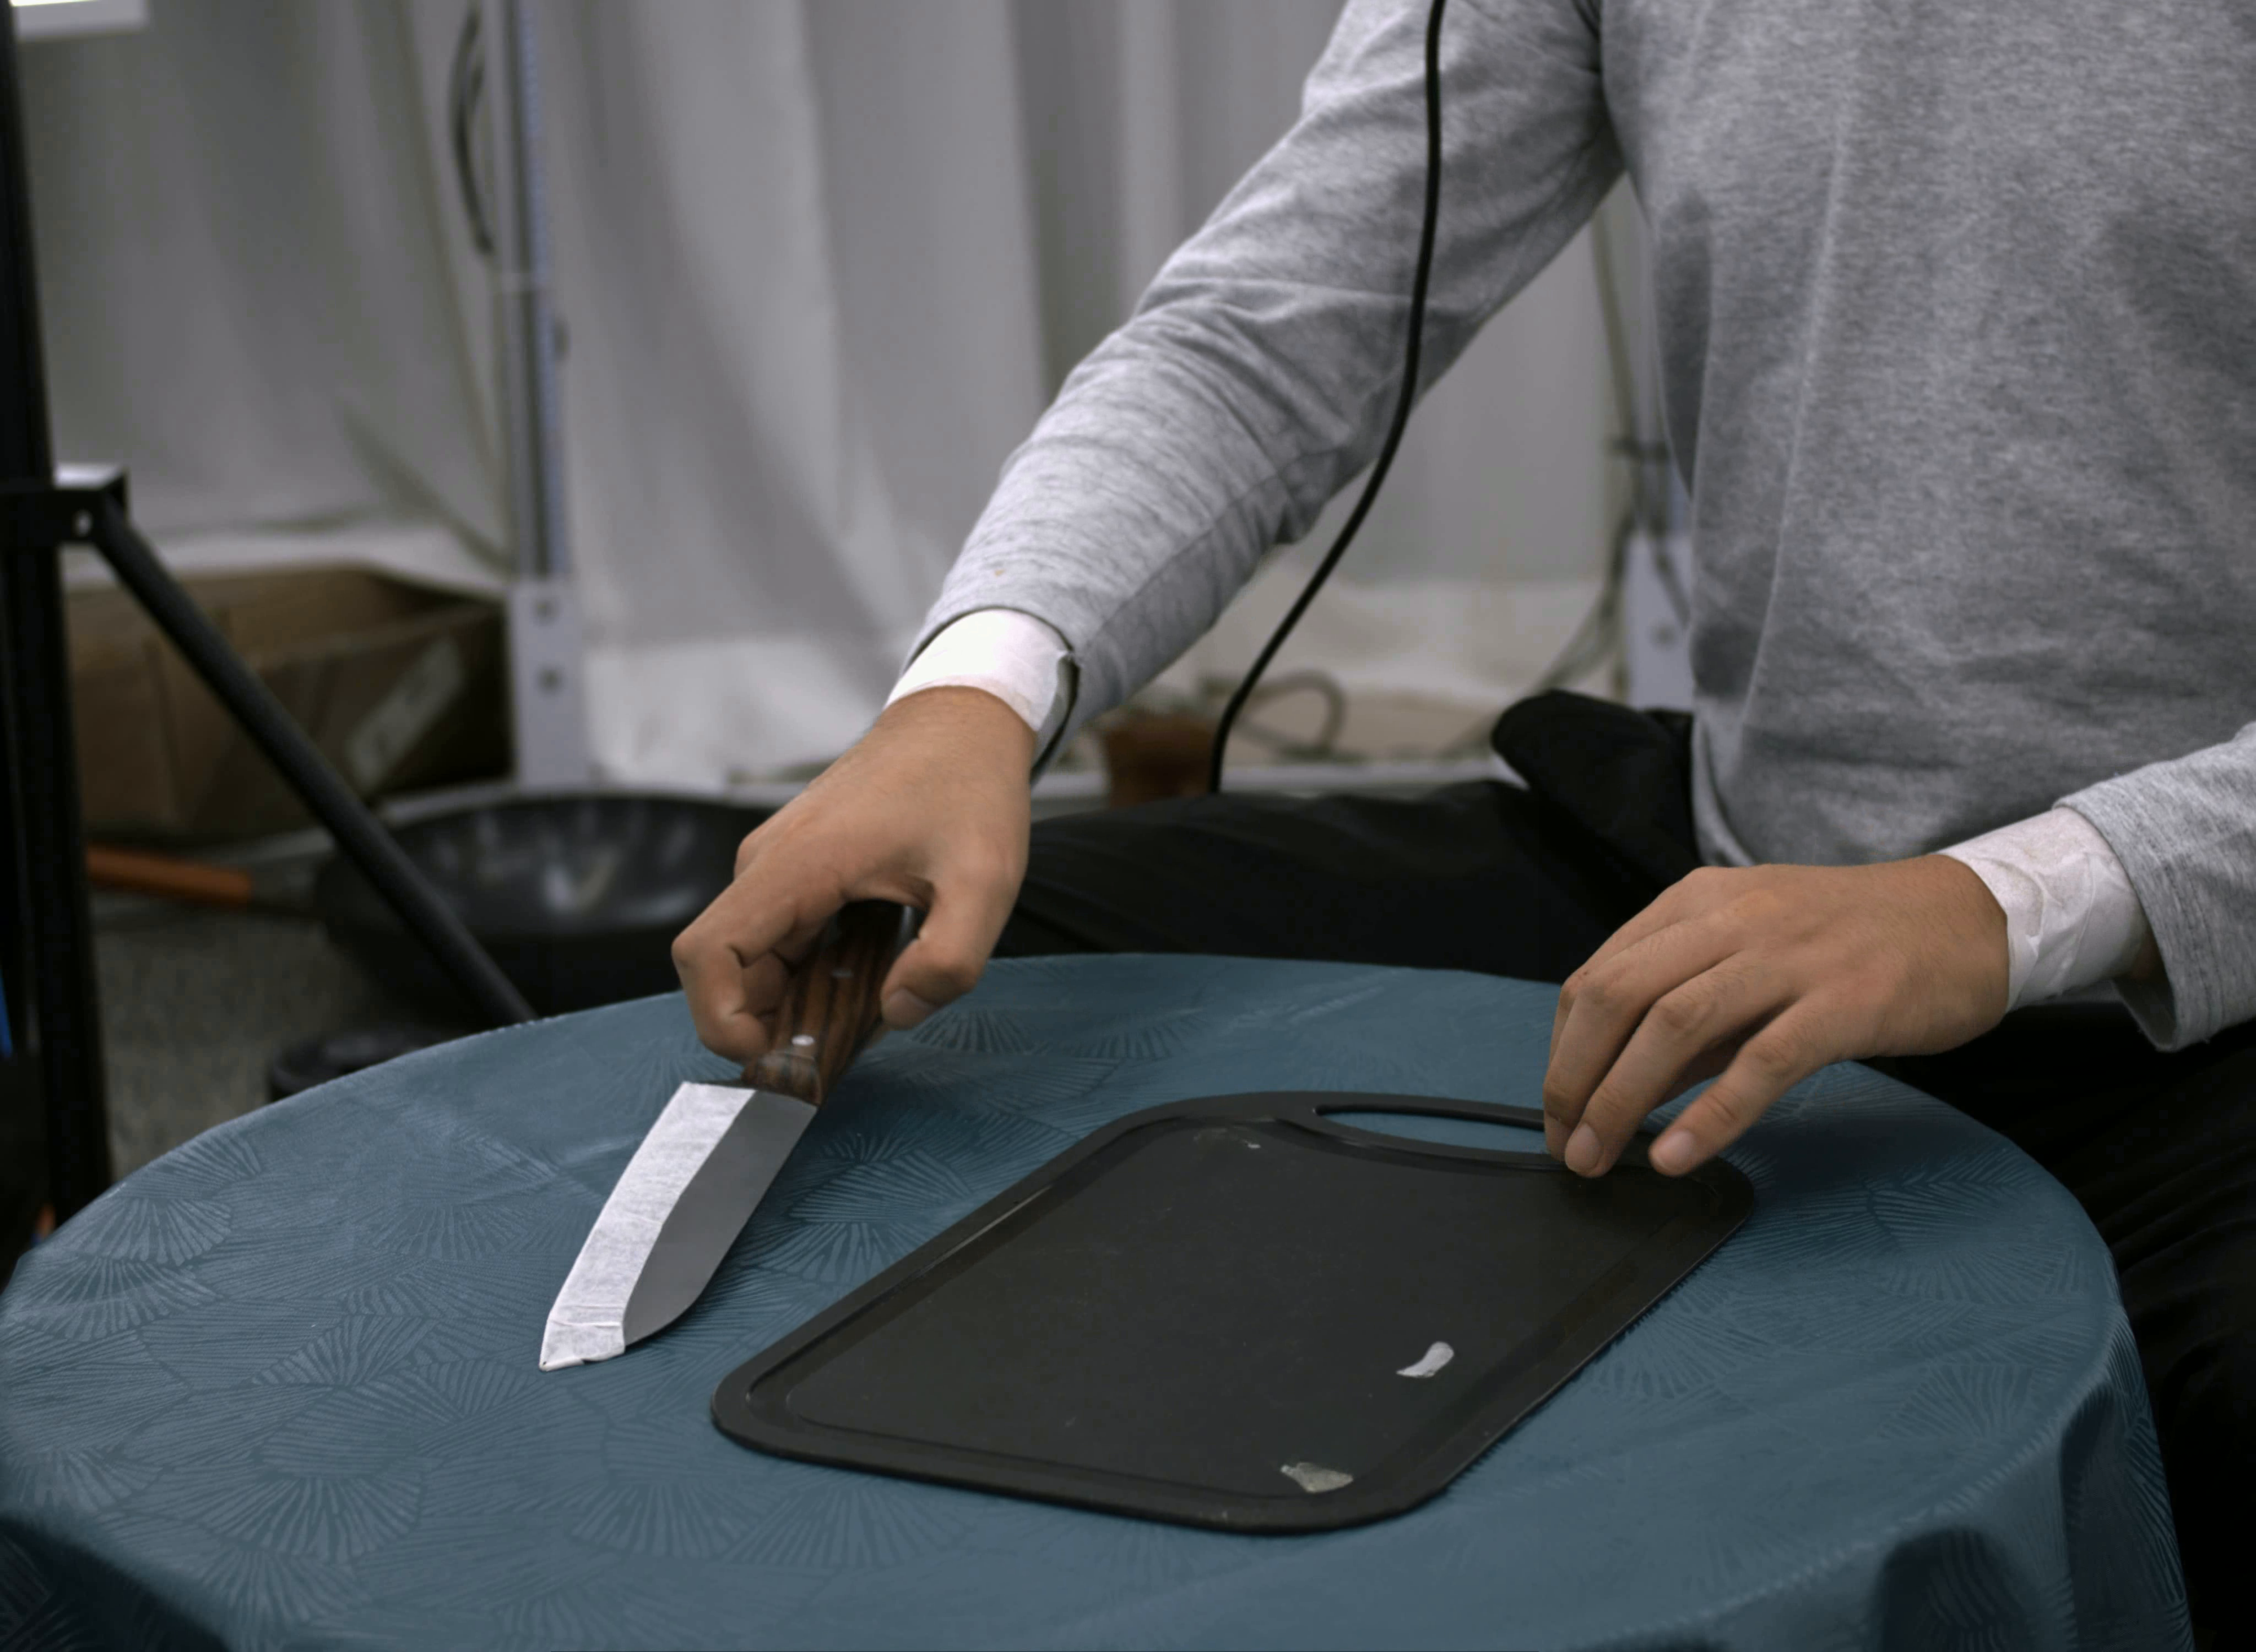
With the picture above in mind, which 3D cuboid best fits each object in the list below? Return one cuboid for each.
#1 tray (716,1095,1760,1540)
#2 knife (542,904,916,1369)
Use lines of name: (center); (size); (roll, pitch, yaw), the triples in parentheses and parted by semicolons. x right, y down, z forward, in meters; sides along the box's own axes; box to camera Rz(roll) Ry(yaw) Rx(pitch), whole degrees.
tray: (0.040, 0.127, 1.479); (0.215, 0.010, 0.320); (7, 18, 28)
knife: (-0.114, 0.090, 1.568); (0.051, 0.020, 0.287); (4, 25, 16)
